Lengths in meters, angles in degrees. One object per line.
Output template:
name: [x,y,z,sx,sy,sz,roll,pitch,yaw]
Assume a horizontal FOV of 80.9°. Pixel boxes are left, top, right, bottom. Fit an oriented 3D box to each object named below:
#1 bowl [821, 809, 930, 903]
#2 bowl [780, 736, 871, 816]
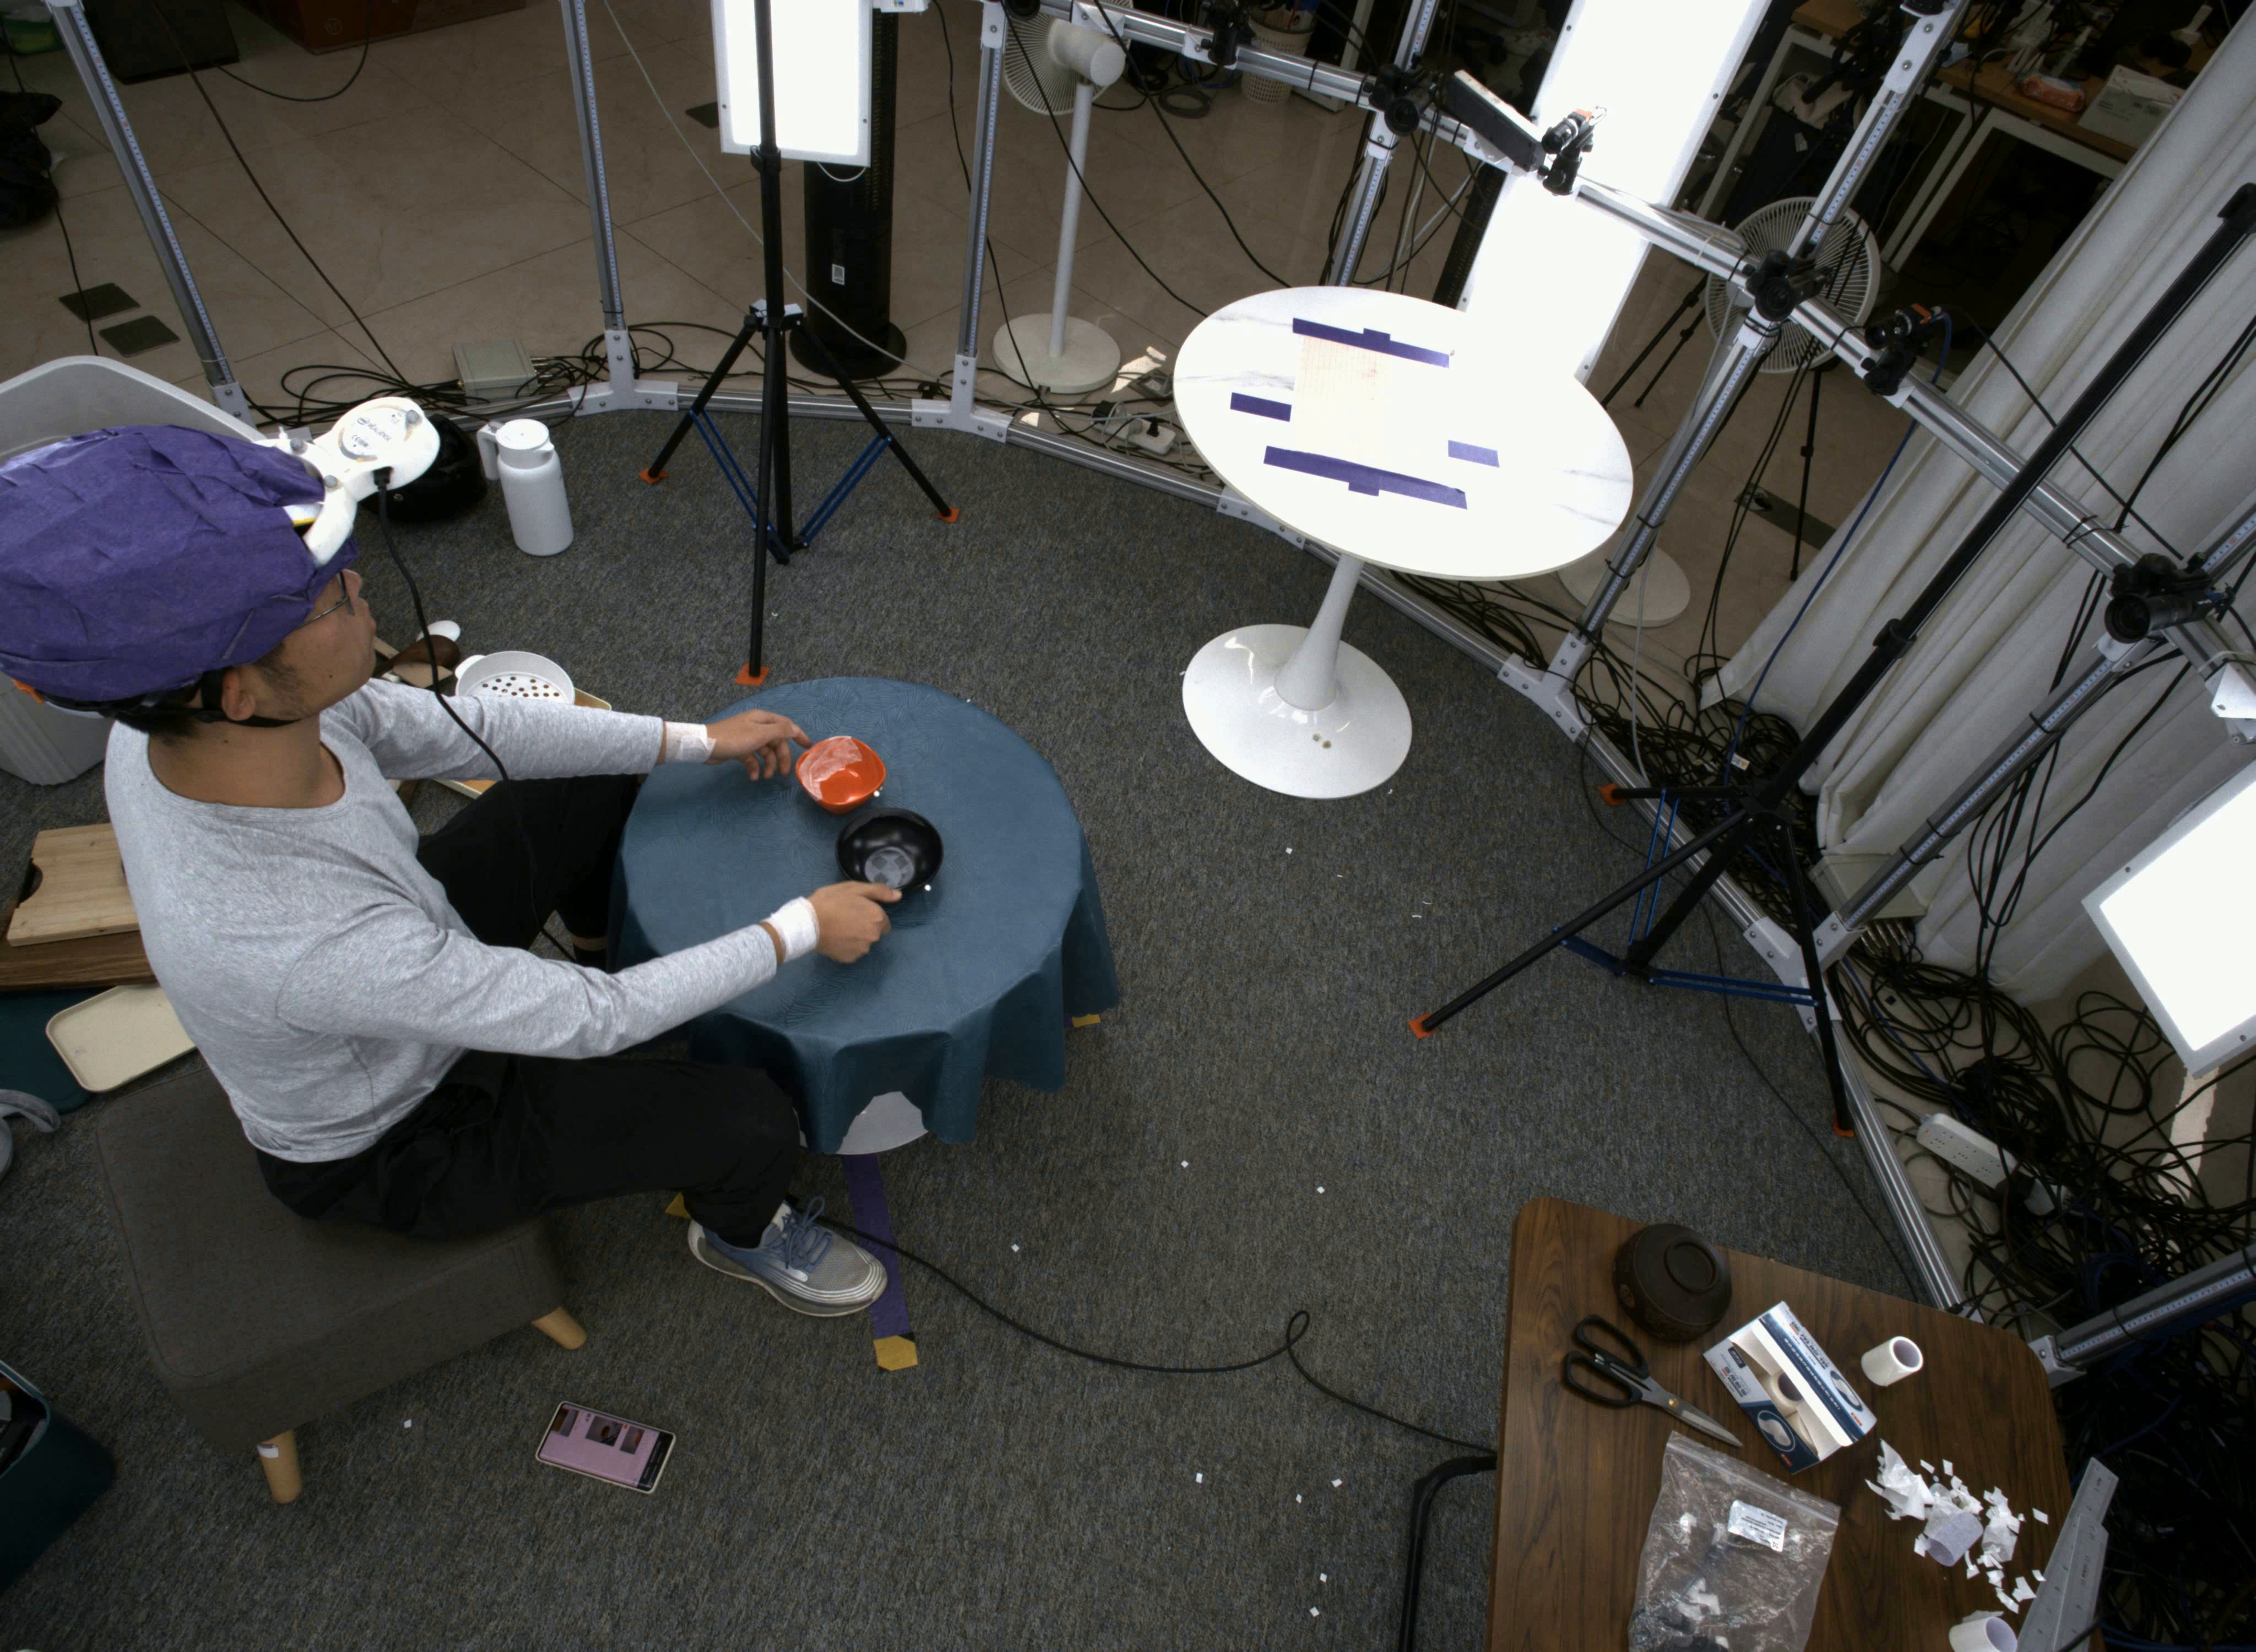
bowl: [-0.328,0.046,1.696,0.139,0.051,0.137,6,54,-6]
bowl: [-0.408,-0.060,1.749,0.119,0.052,0.117,9,52,-10]
